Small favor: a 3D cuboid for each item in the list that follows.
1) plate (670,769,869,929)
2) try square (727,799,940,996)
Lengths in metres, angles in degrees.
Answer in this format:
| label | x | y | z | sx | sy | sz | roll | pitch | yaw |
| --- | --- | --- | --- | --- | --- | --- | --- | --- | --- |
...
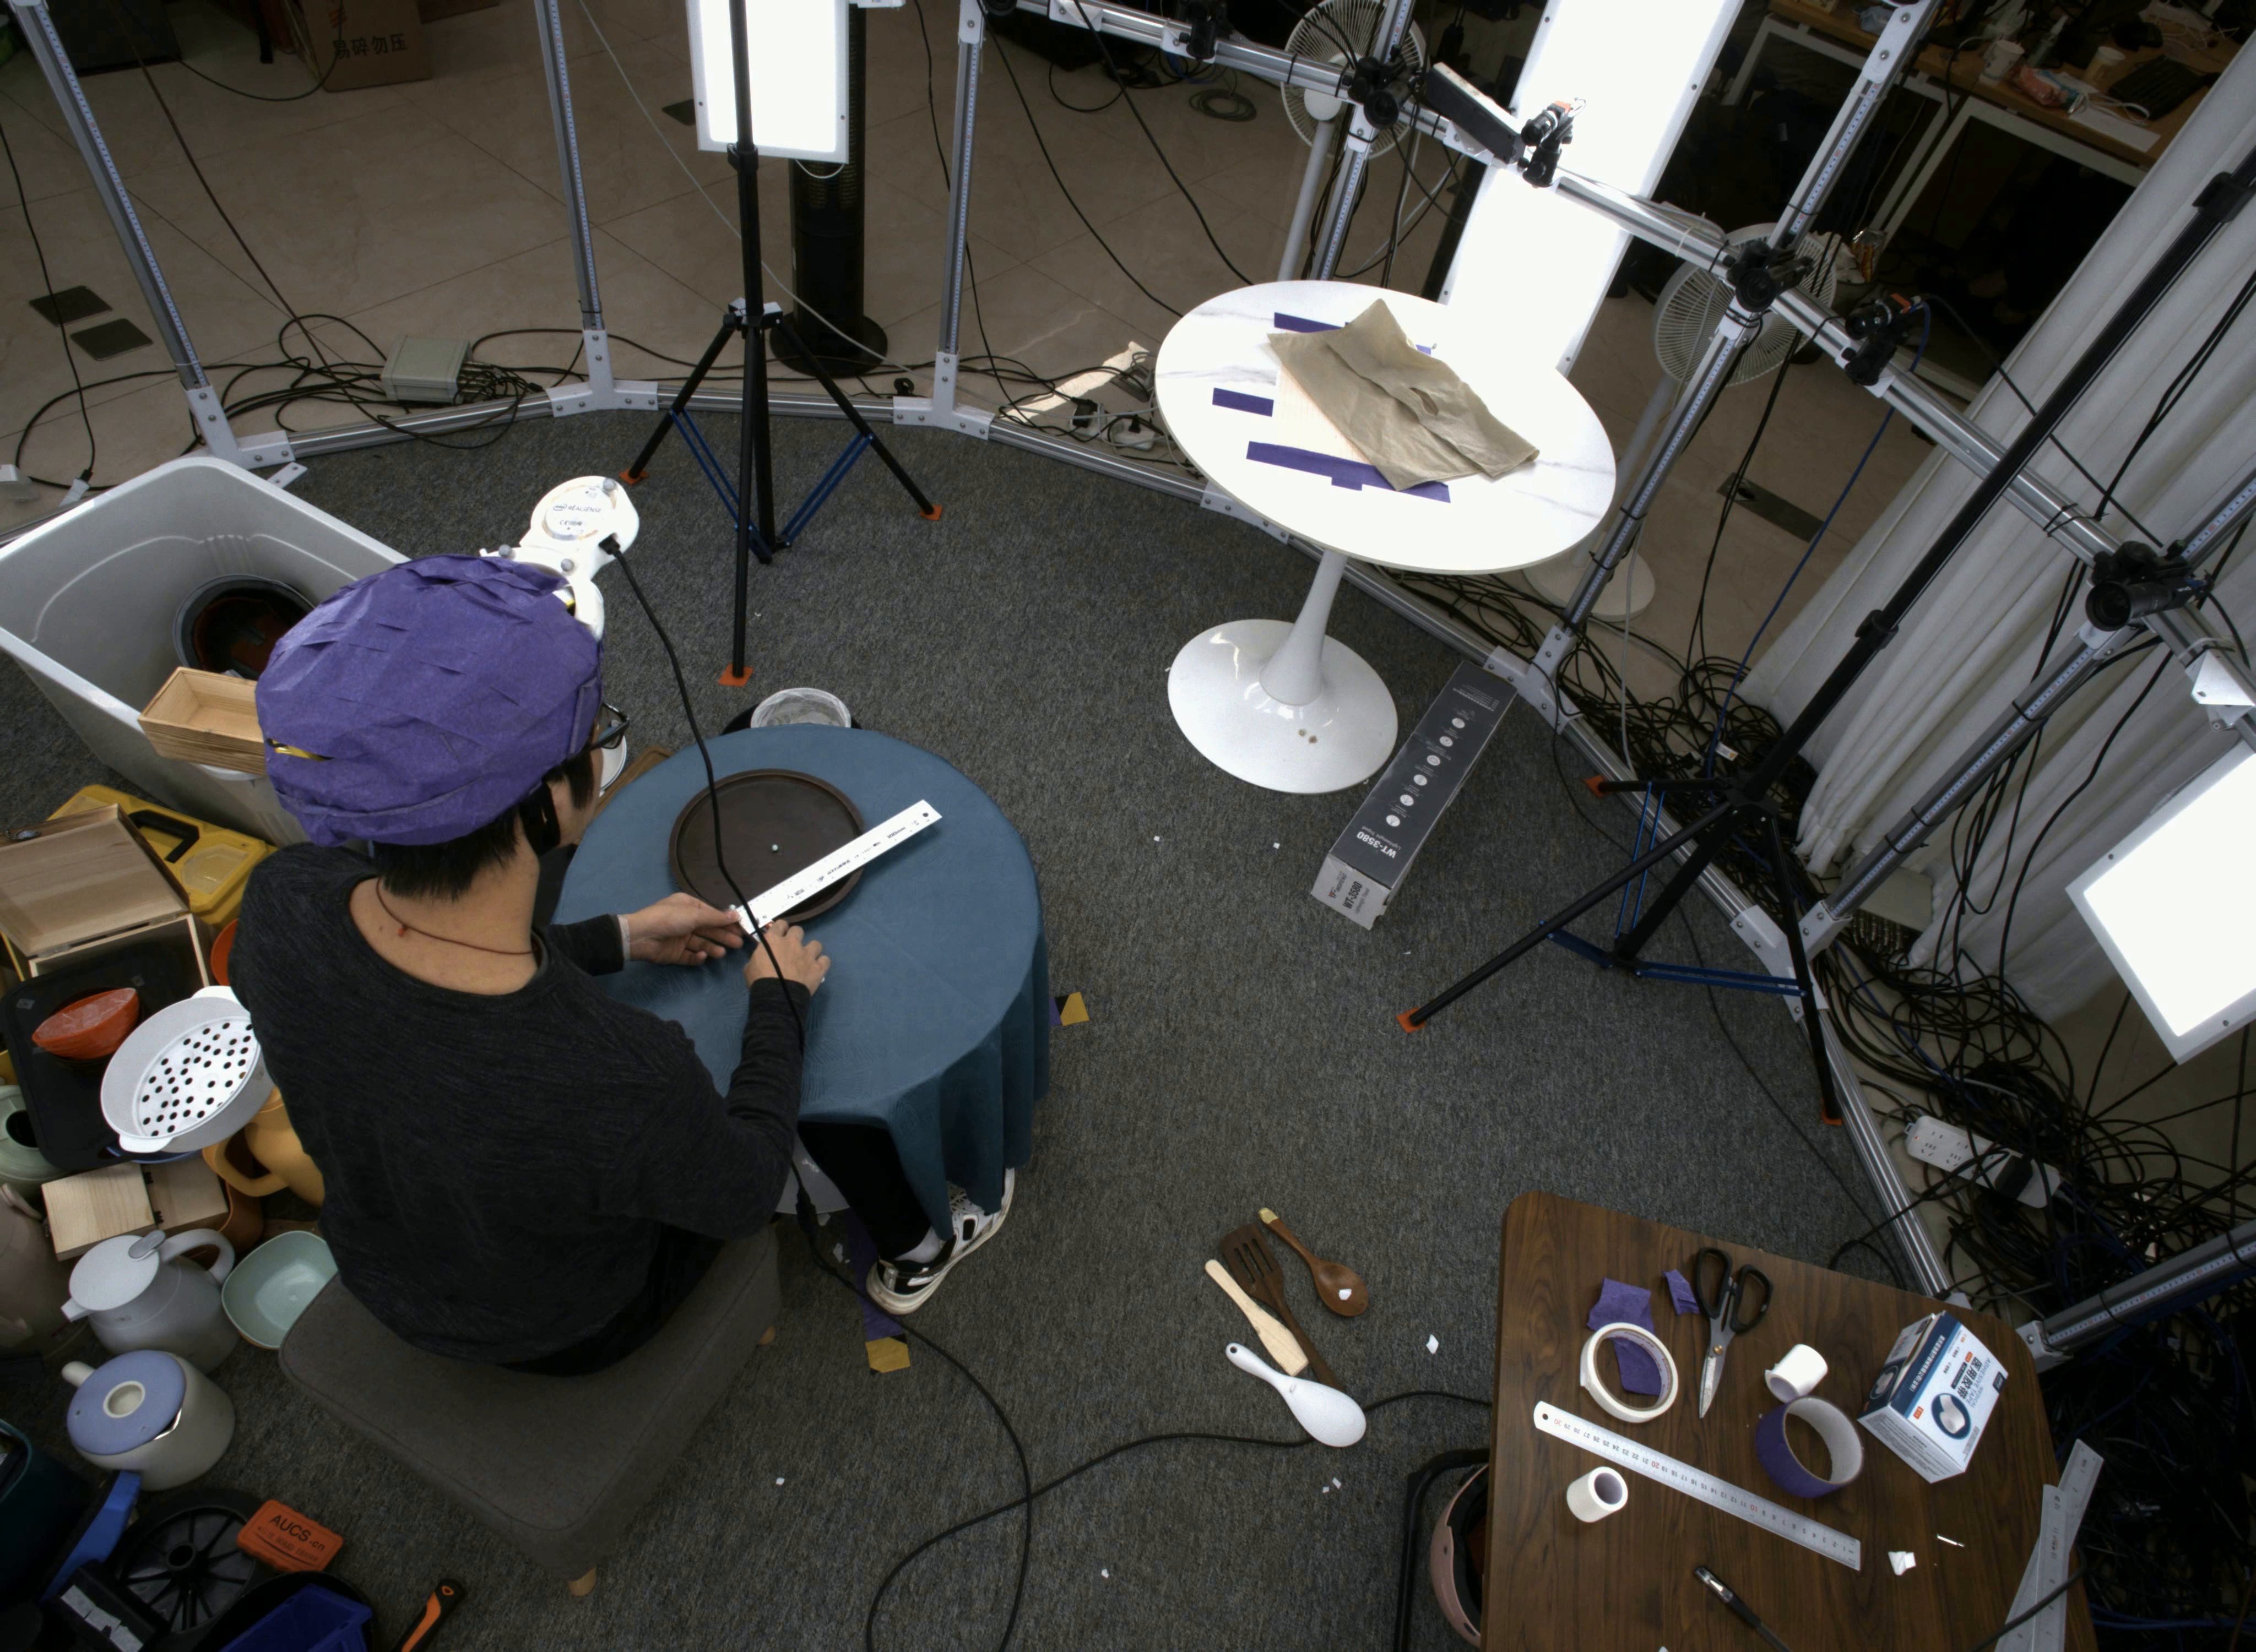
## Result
| label | x | y | z | sx | sy | sz | roll | pitch | yaw |
| --- | --- | --- | --- | --- | --- | --- | --- | --- | --- |
| plate | -0.462 | 0.027 | 1.673 | 0.254 | 0.029 | 0.250 | 9 | 52 | -10 |
| try square | -0.335 | 0.081 | 1.647 | 0.148 | 0.016 | 0.314 | 41 | 54 | 21 |
